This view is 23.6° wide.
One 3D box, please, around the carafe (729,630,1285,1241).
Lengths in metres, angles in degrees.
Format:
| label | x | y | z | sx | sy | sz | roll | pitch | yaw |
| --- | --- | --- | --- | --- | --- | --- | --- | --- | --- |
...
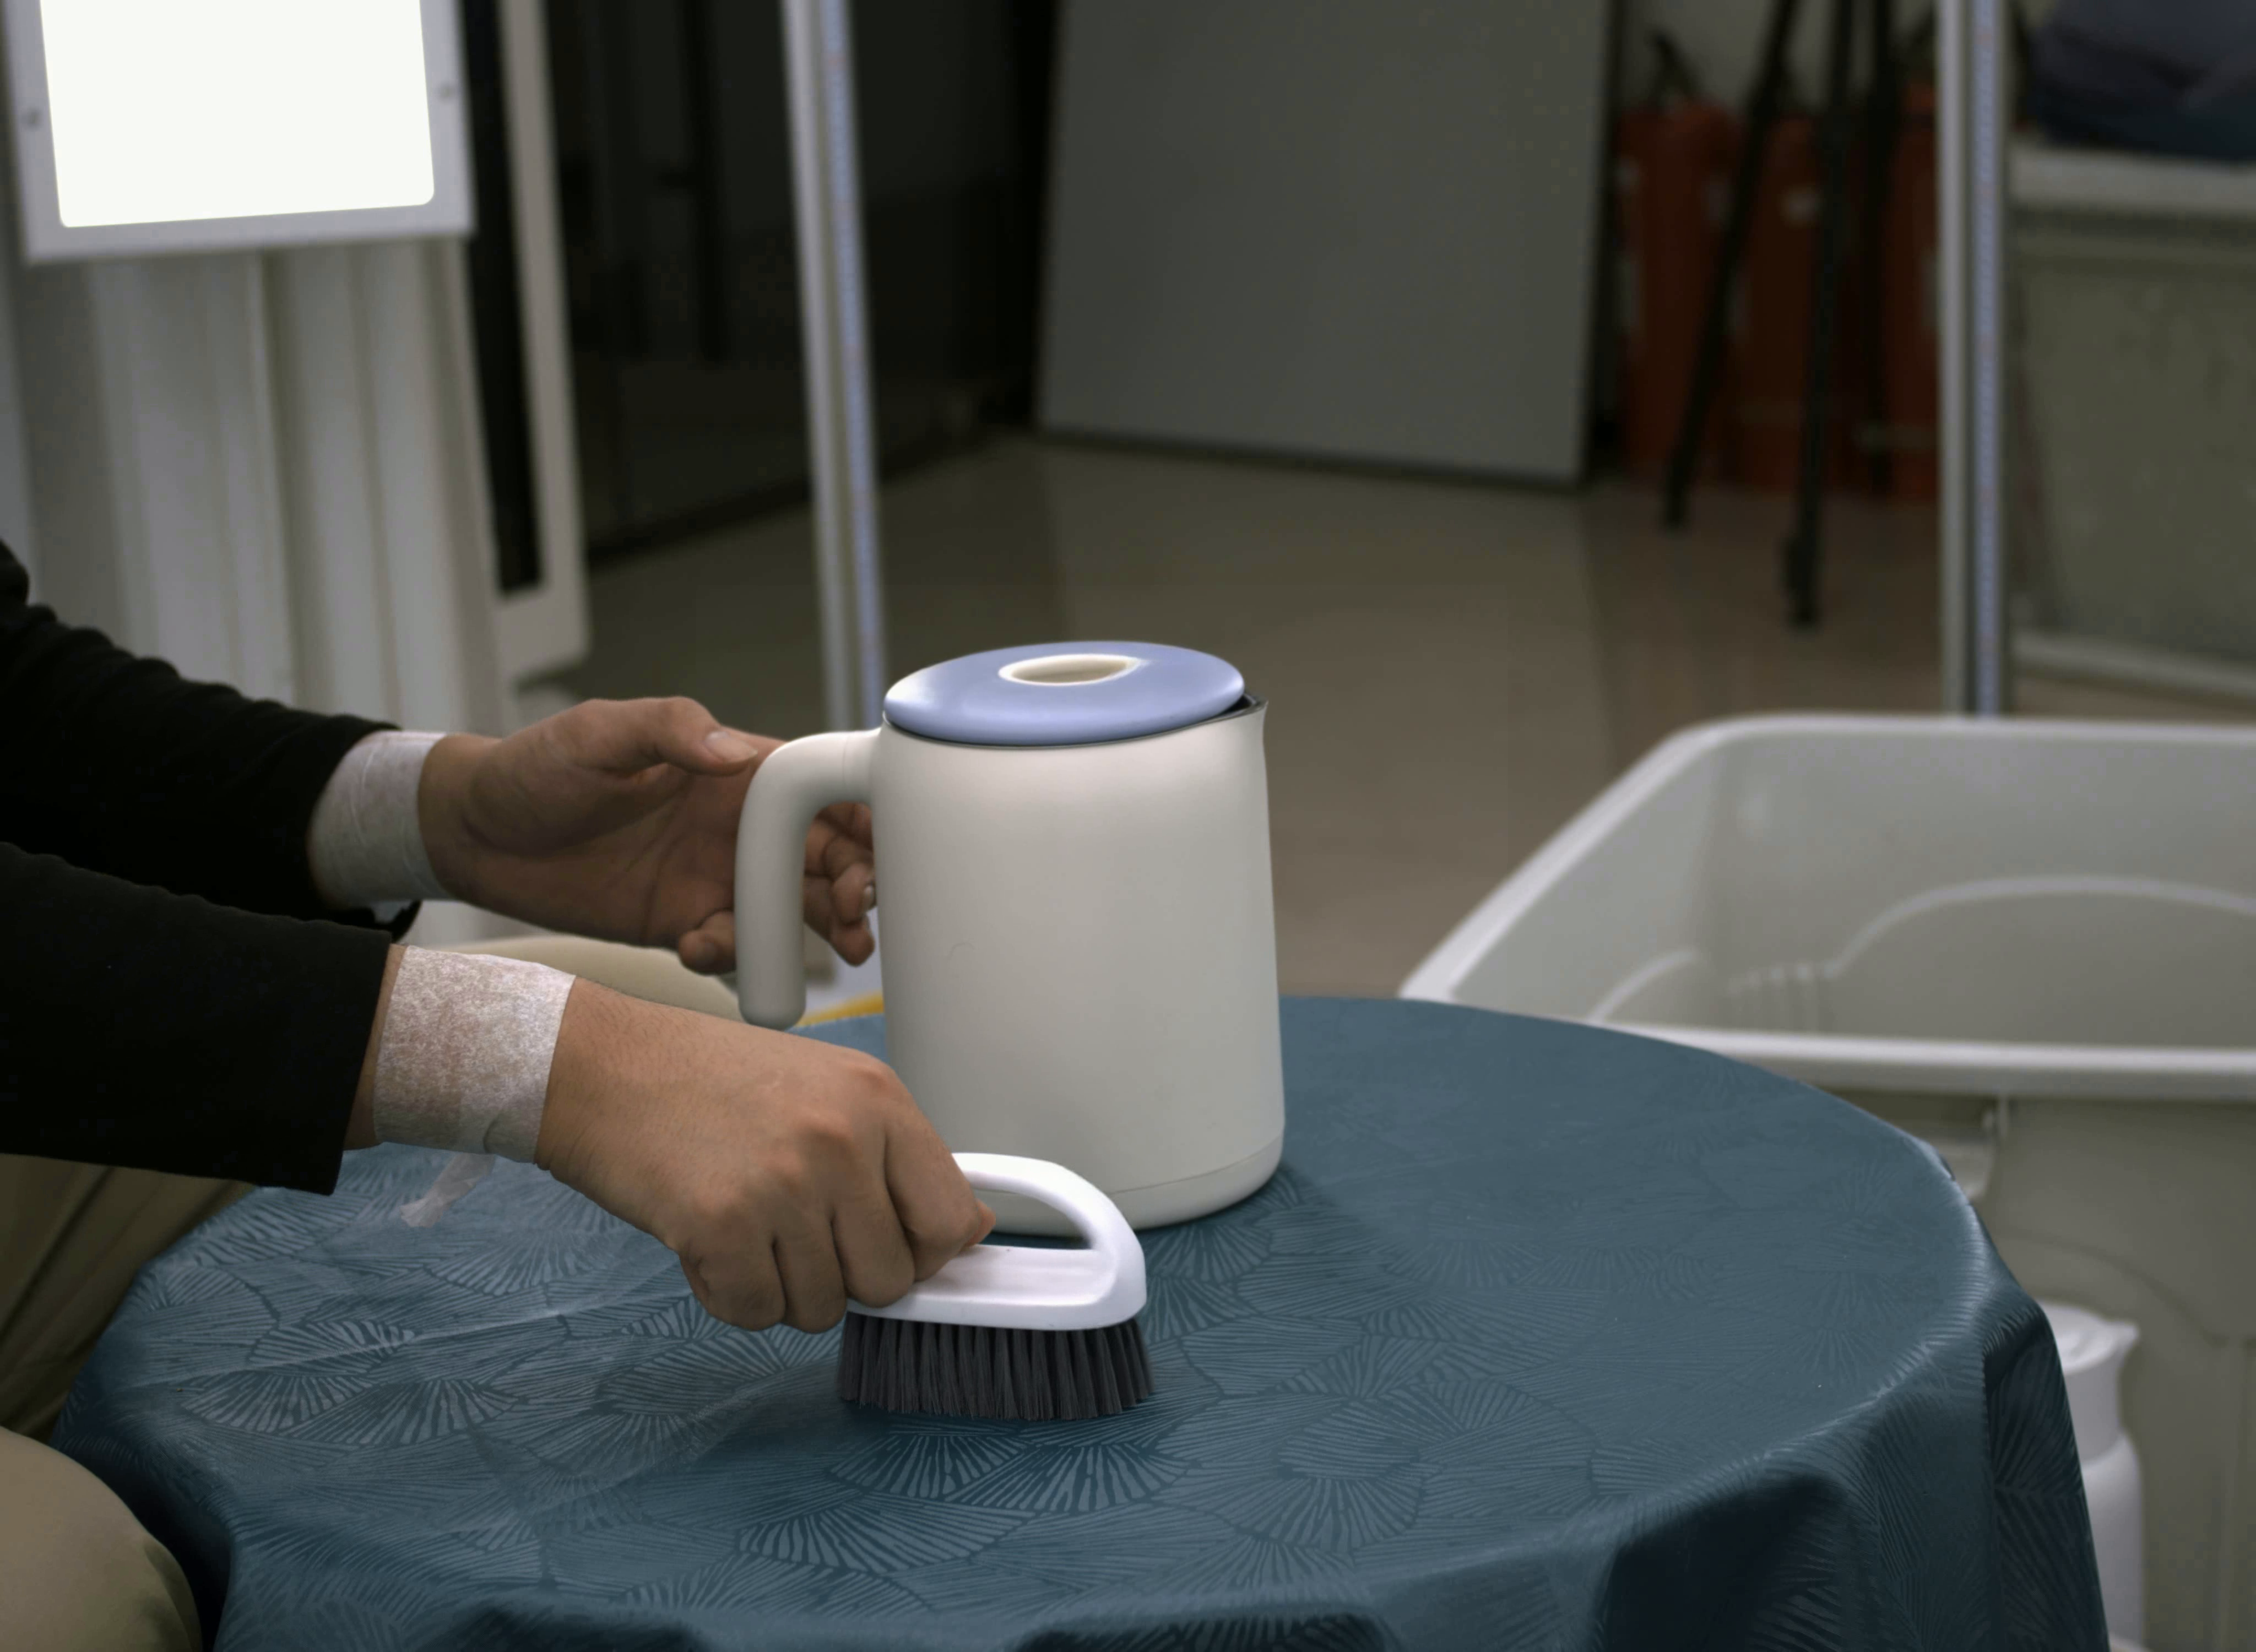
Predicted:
| label | x | y | z | sx | sy | sz | roll | pitch | yaw |
| --- | --- | --- | --- | --- | --- | --- | --- | --- | --- |
| carafe | -0.041 | 0.035 | 1.771 | 0.190 | 0.184 | 0.131 | -2 | 13 | 16 |

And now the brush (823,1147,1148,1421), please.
| label | x | y | z | sx | sy | sz | roll | pitch | yaw |
| --- | --- | --- | --- | --- | --- | --- | --- | --- | --- |
| brush | -0.043 | 0.131 | 1.587 | 0.099 | 0.073 | 0.049 | 2 | 15 | 25 |
